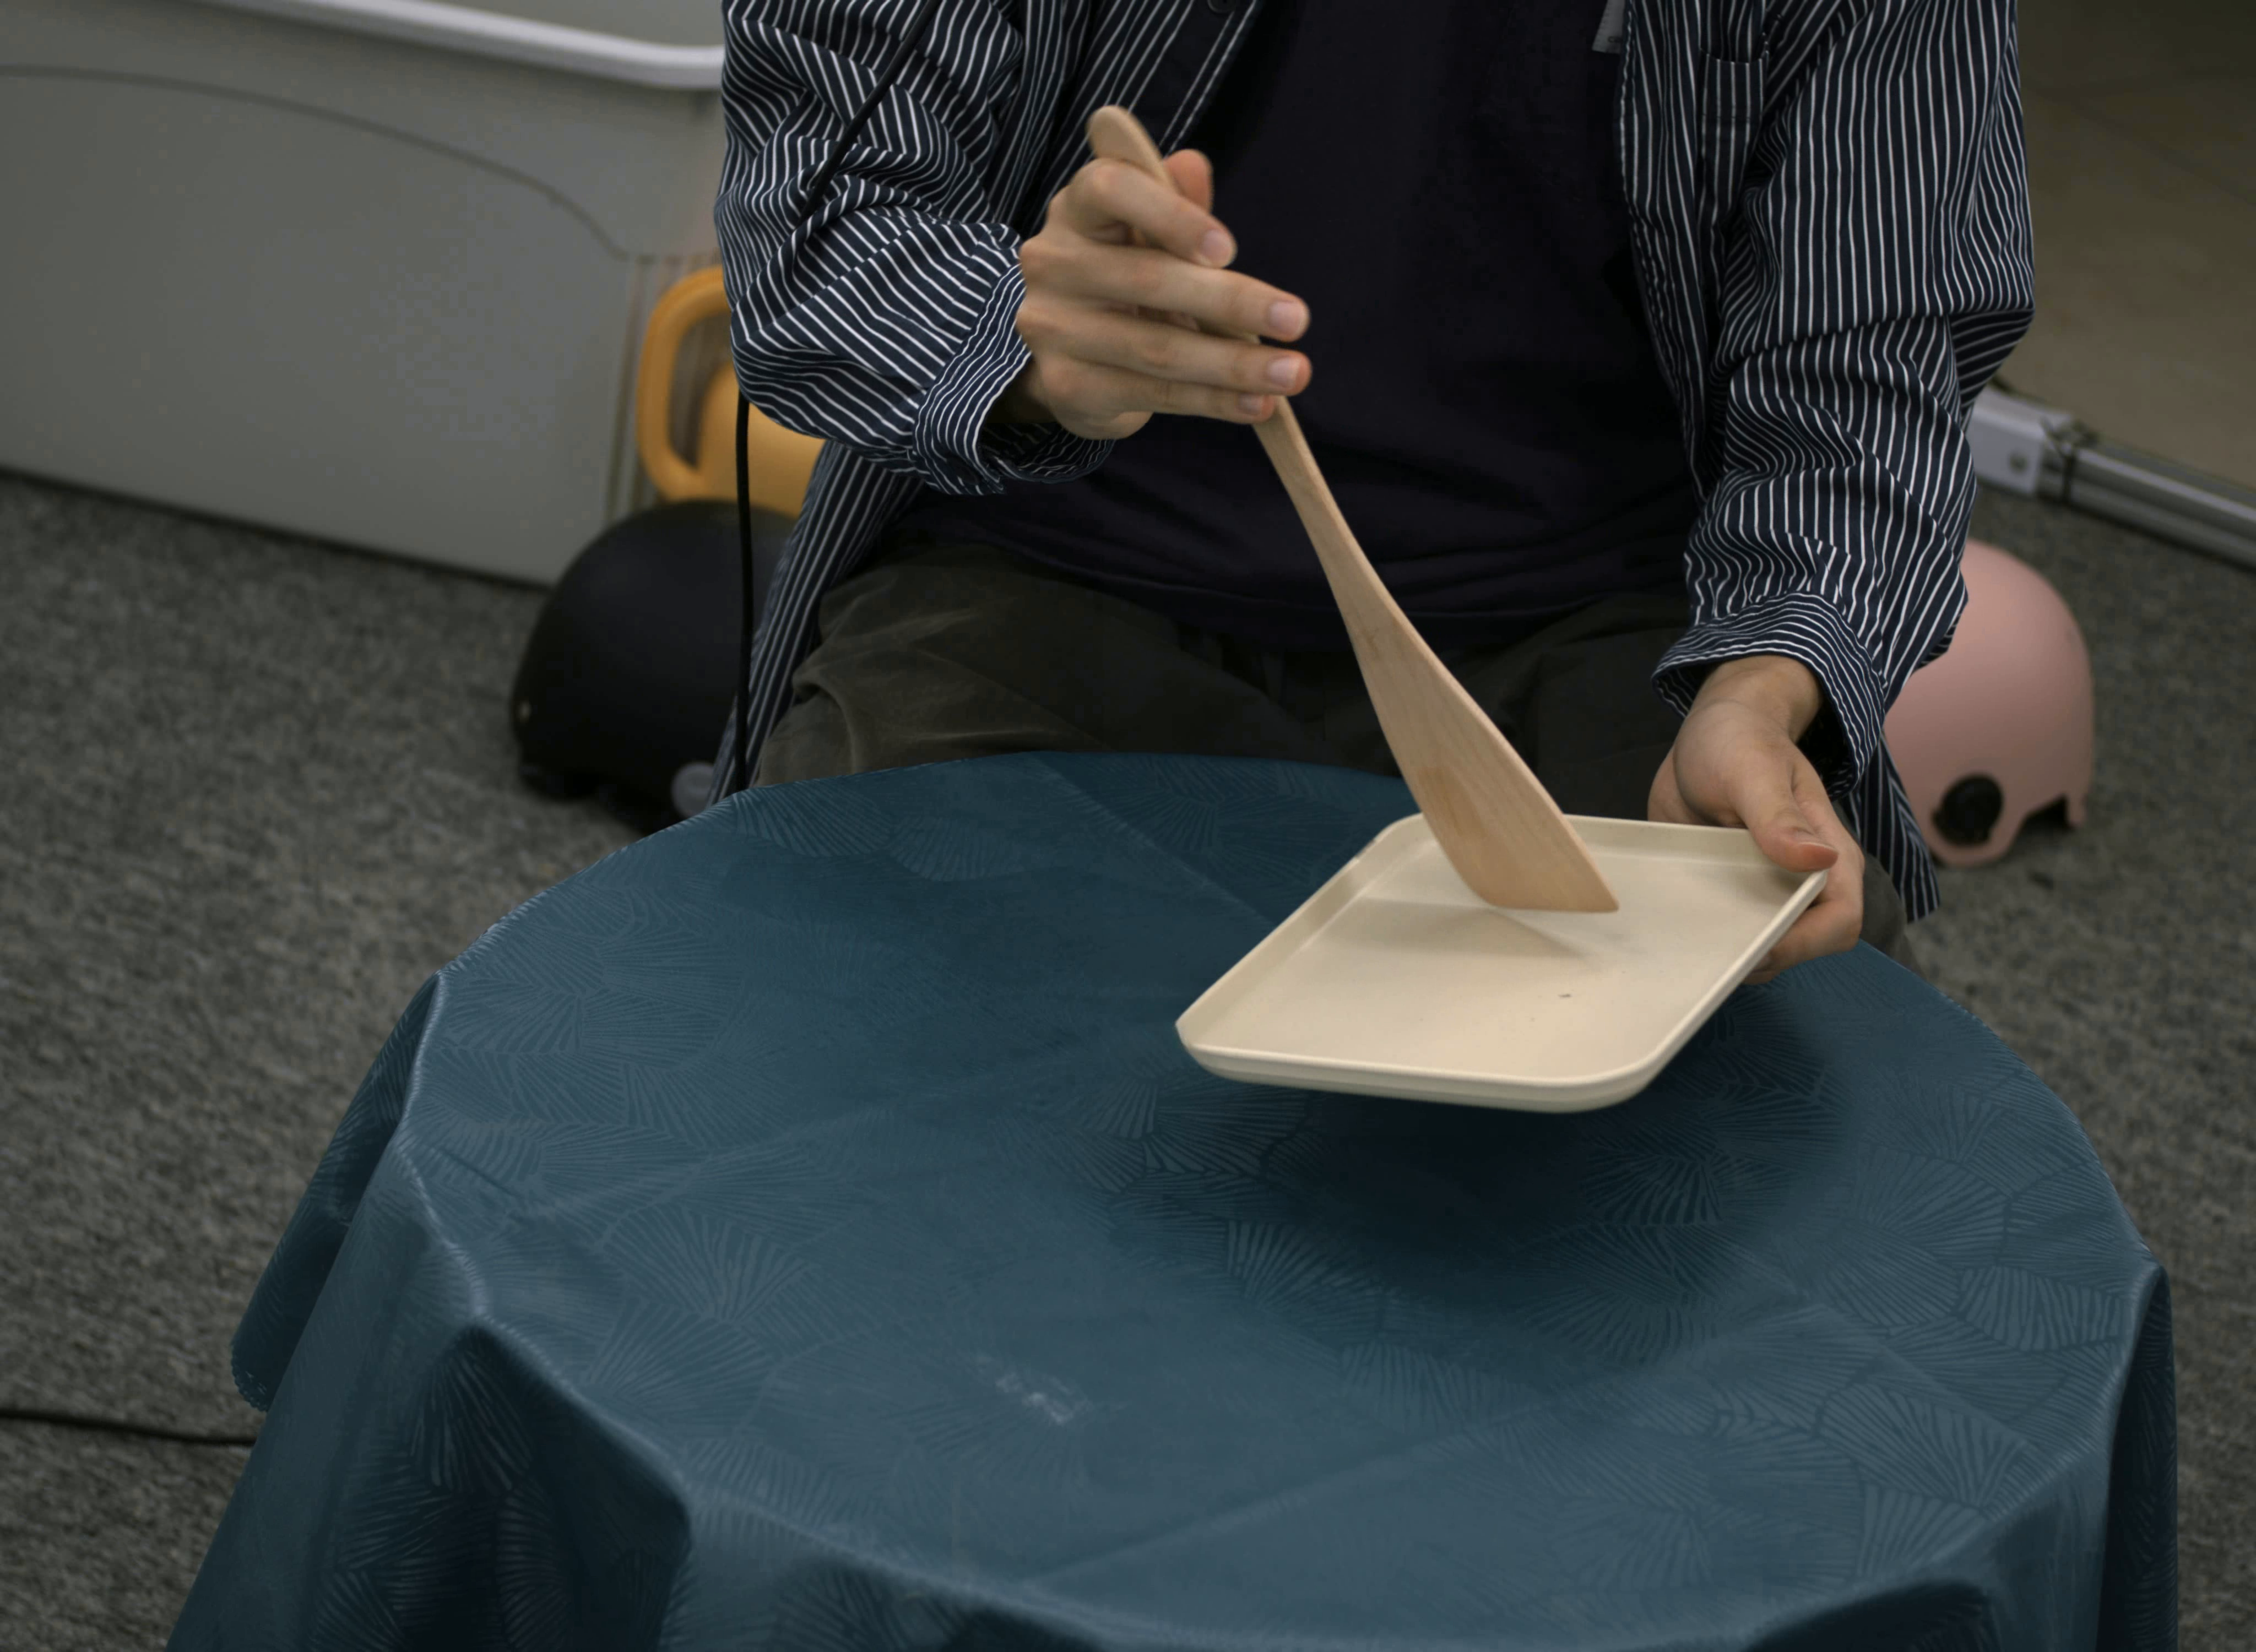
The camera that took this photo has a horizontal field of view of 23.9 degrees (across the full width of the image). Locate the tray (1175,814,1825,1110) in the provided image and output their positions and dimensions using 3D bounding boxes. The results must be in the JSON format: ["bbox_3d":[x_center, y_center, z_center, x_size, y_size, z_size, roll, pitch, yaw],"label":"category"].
[{"bbox_3d":[0.132,0.045,1.838,0.172,0.017,0.239,4,21,26],"label":"tray"}]

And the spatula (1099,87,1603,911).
[{"bbox_3d":[0.070,-0.109,1.850,0.016,0.327,0.080,-31,8,-30],"label":"spatula"}]
